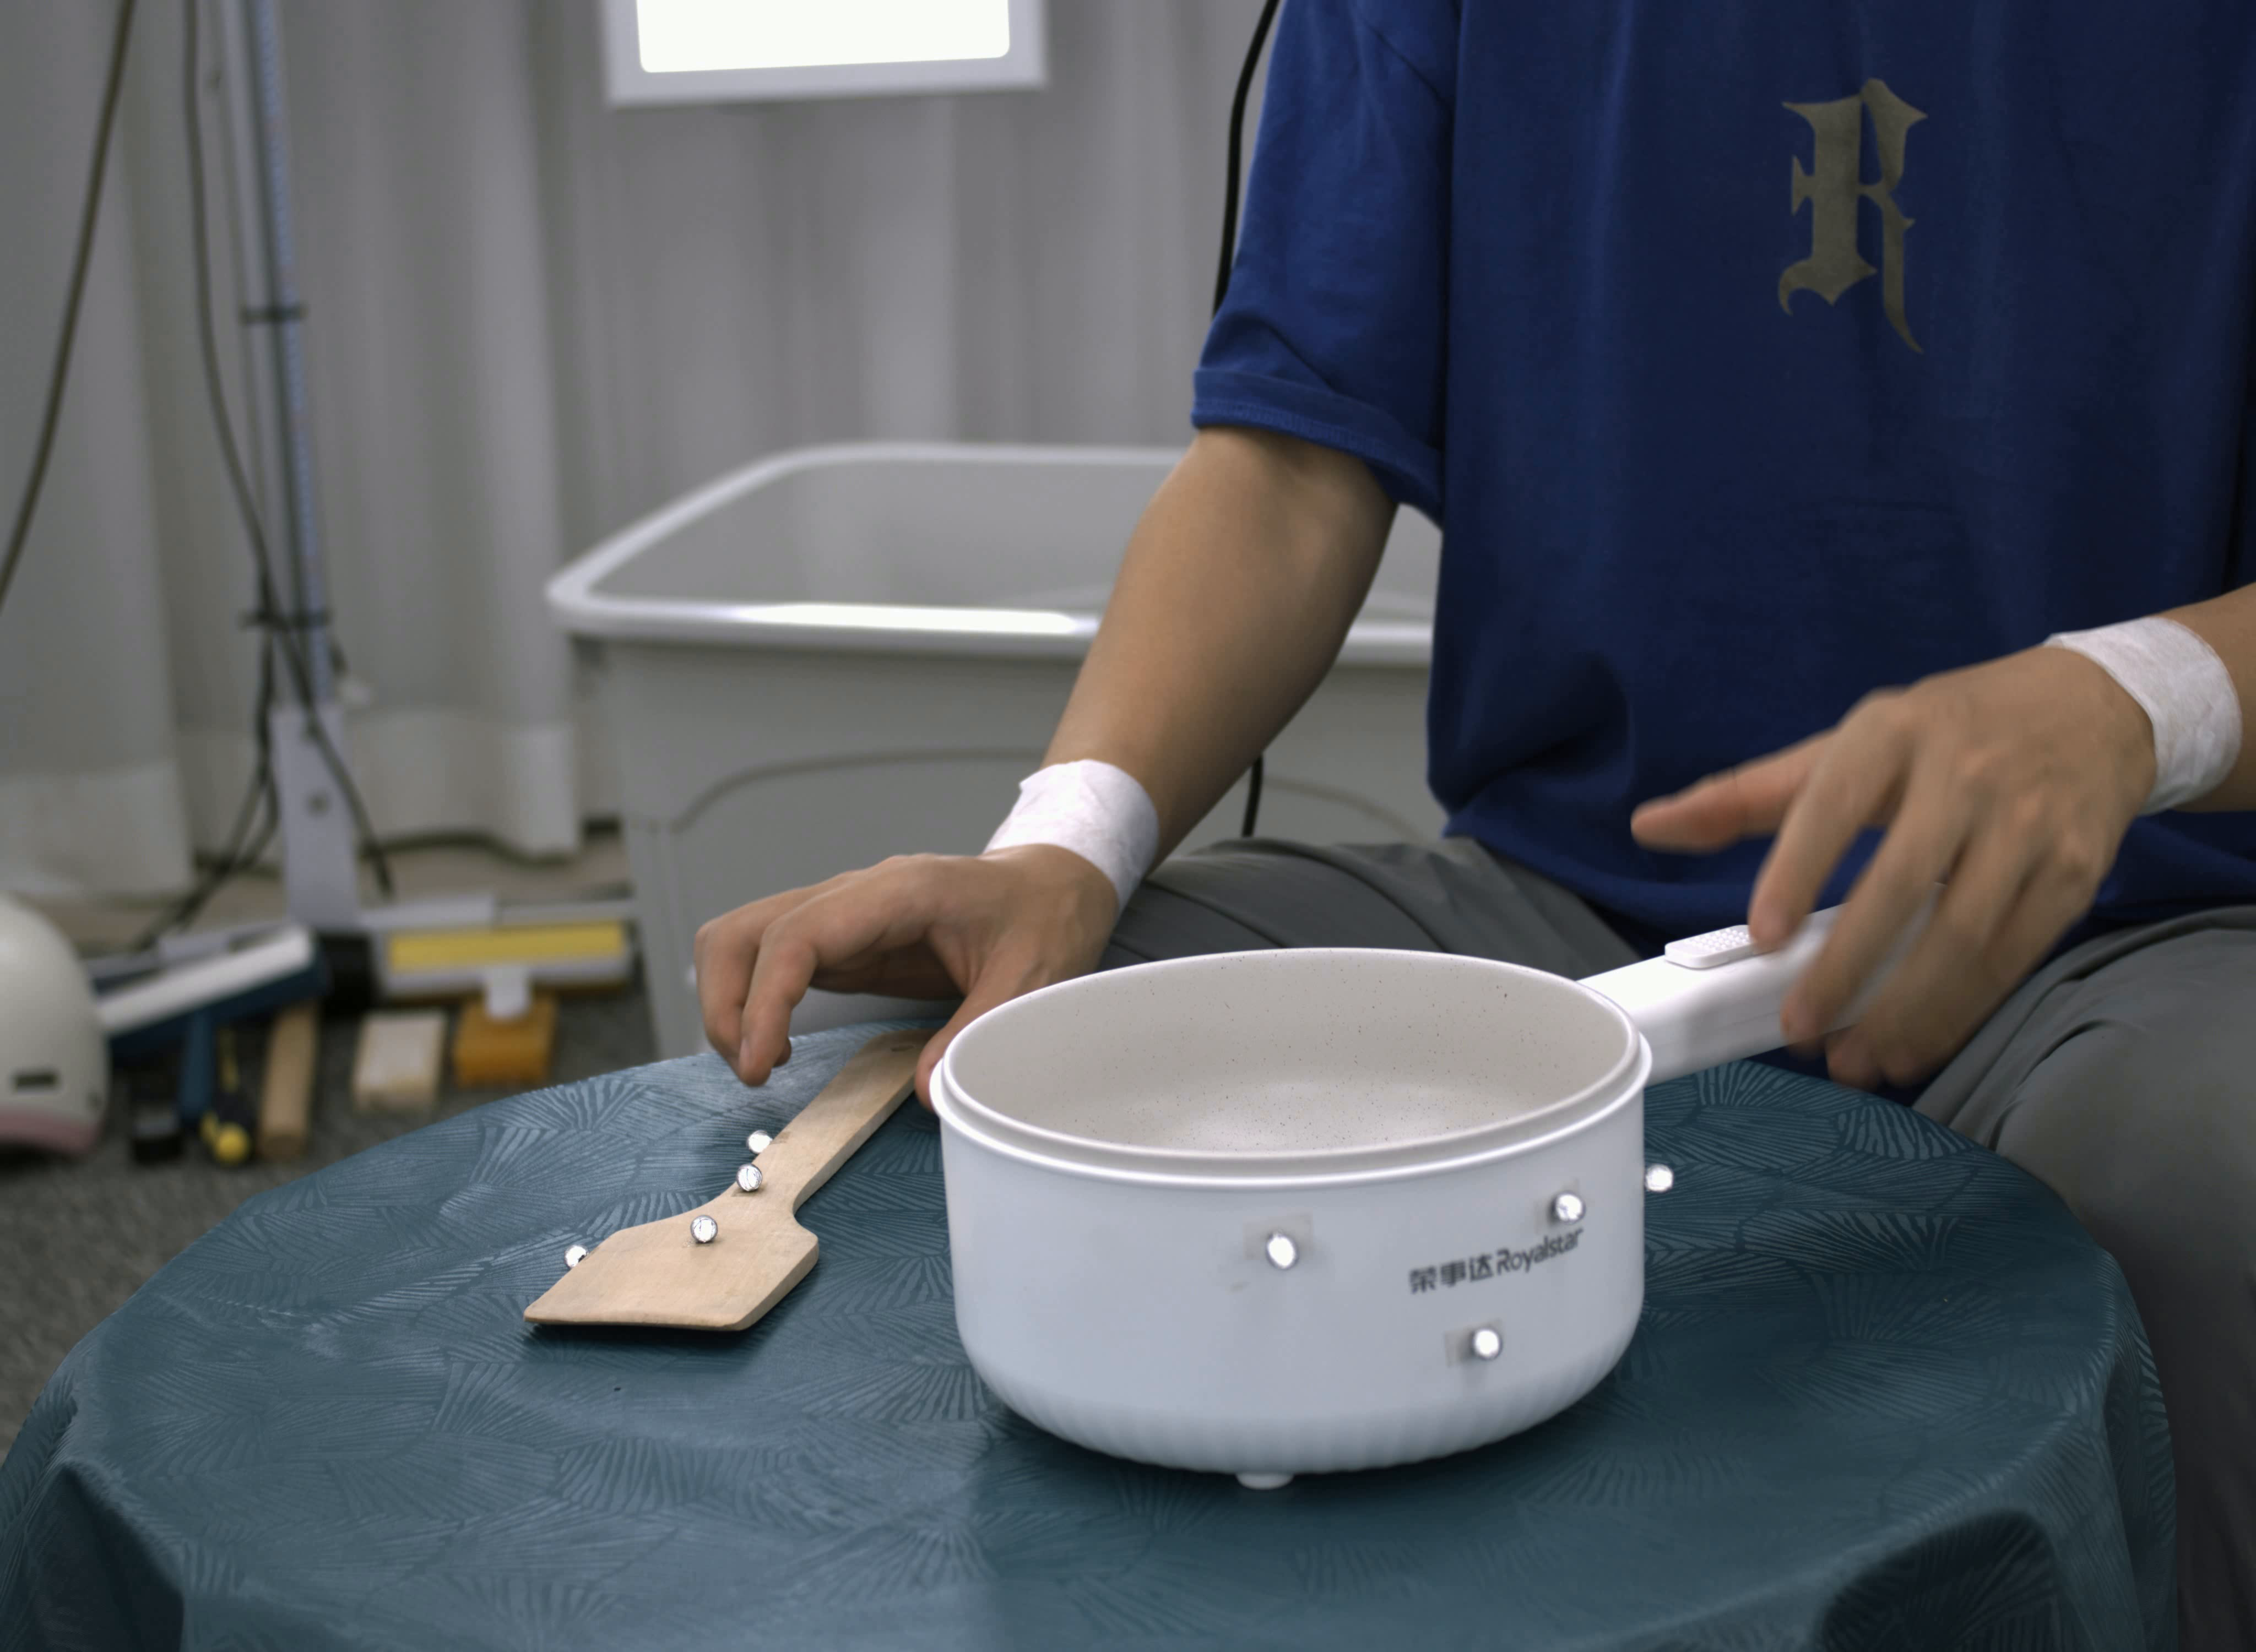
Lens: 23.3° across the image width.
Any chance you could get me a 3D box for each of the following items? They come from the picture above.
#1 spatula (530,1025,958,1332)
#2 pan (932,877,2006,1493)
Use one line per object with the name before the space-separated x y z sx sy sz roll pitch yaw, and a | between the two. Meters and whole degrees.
spatula | -0.108 0.109 1.733 0.072 0.010 0.294 0 15 15
pan | 0.110 0.096 1.569 0.353 0.102 0.202 -13 16 -34
